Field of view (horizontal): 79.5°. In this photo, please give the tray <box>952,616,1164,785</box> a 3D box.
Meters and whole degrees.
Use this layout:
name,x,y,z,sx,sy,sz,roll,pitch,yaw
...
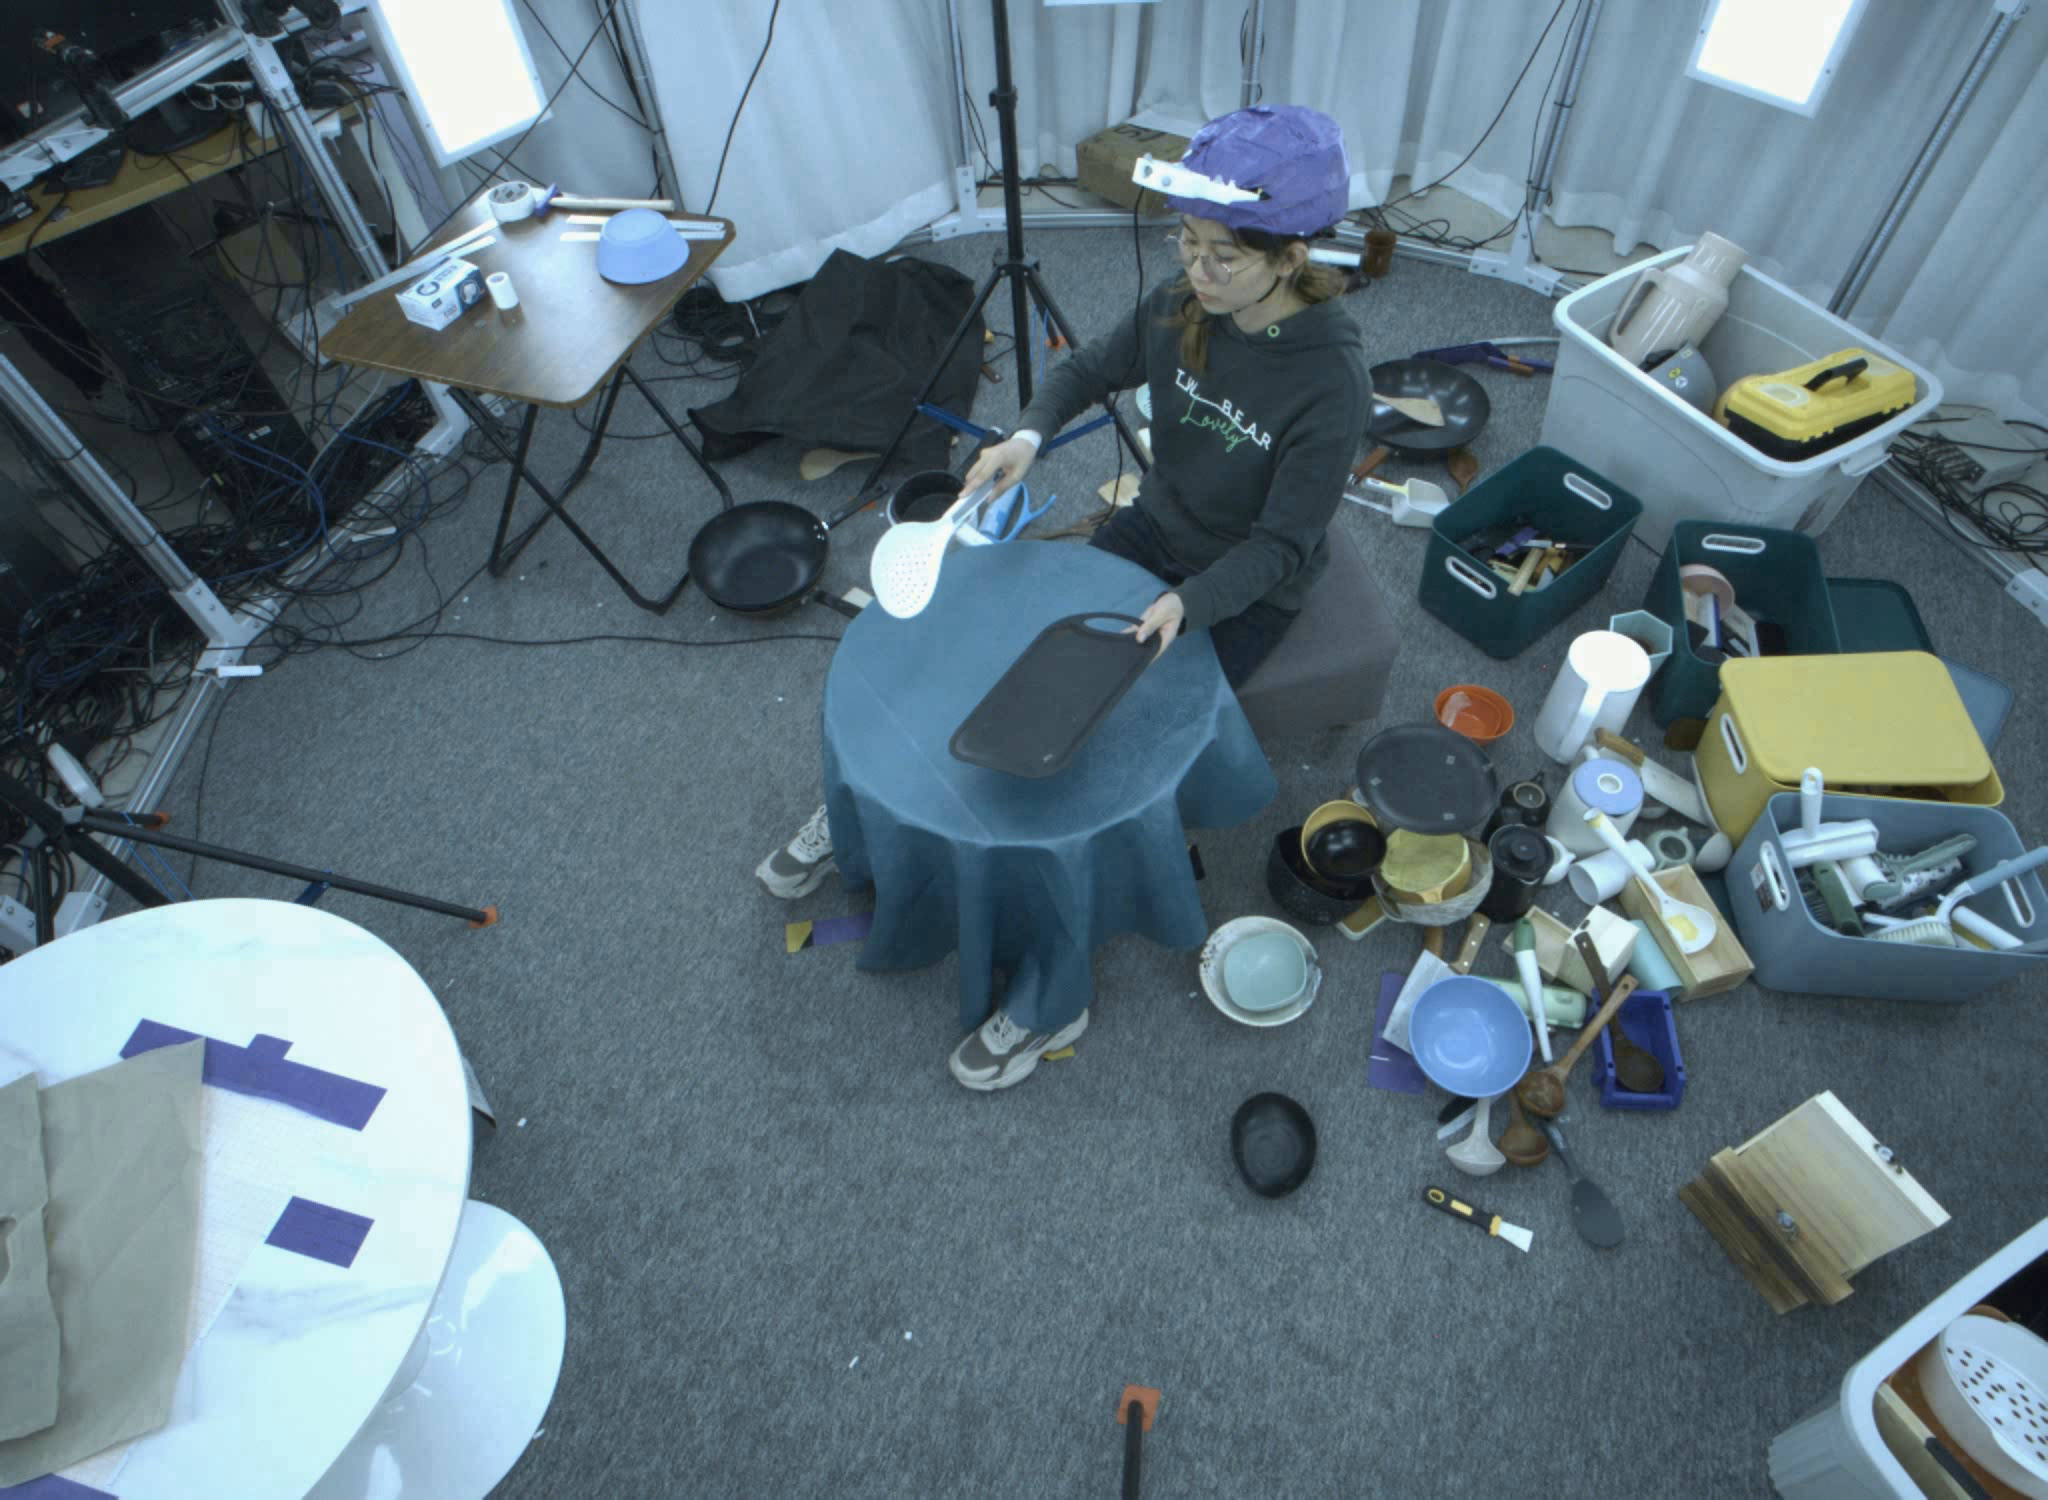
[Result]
name,x,y,z,sx,sy,sz,roll,pitch,yaw
tray,0.051,-0.082,1.711,0.206,0.010,0.327,15,54,37

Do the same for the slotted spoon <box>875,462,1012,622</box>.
name,x,y,z,sx,sy,sz,roll,pitch,yaw
slotted spoon,-0.117,-0.329,1.831,0.045,0.138,0.351,19,55,34
